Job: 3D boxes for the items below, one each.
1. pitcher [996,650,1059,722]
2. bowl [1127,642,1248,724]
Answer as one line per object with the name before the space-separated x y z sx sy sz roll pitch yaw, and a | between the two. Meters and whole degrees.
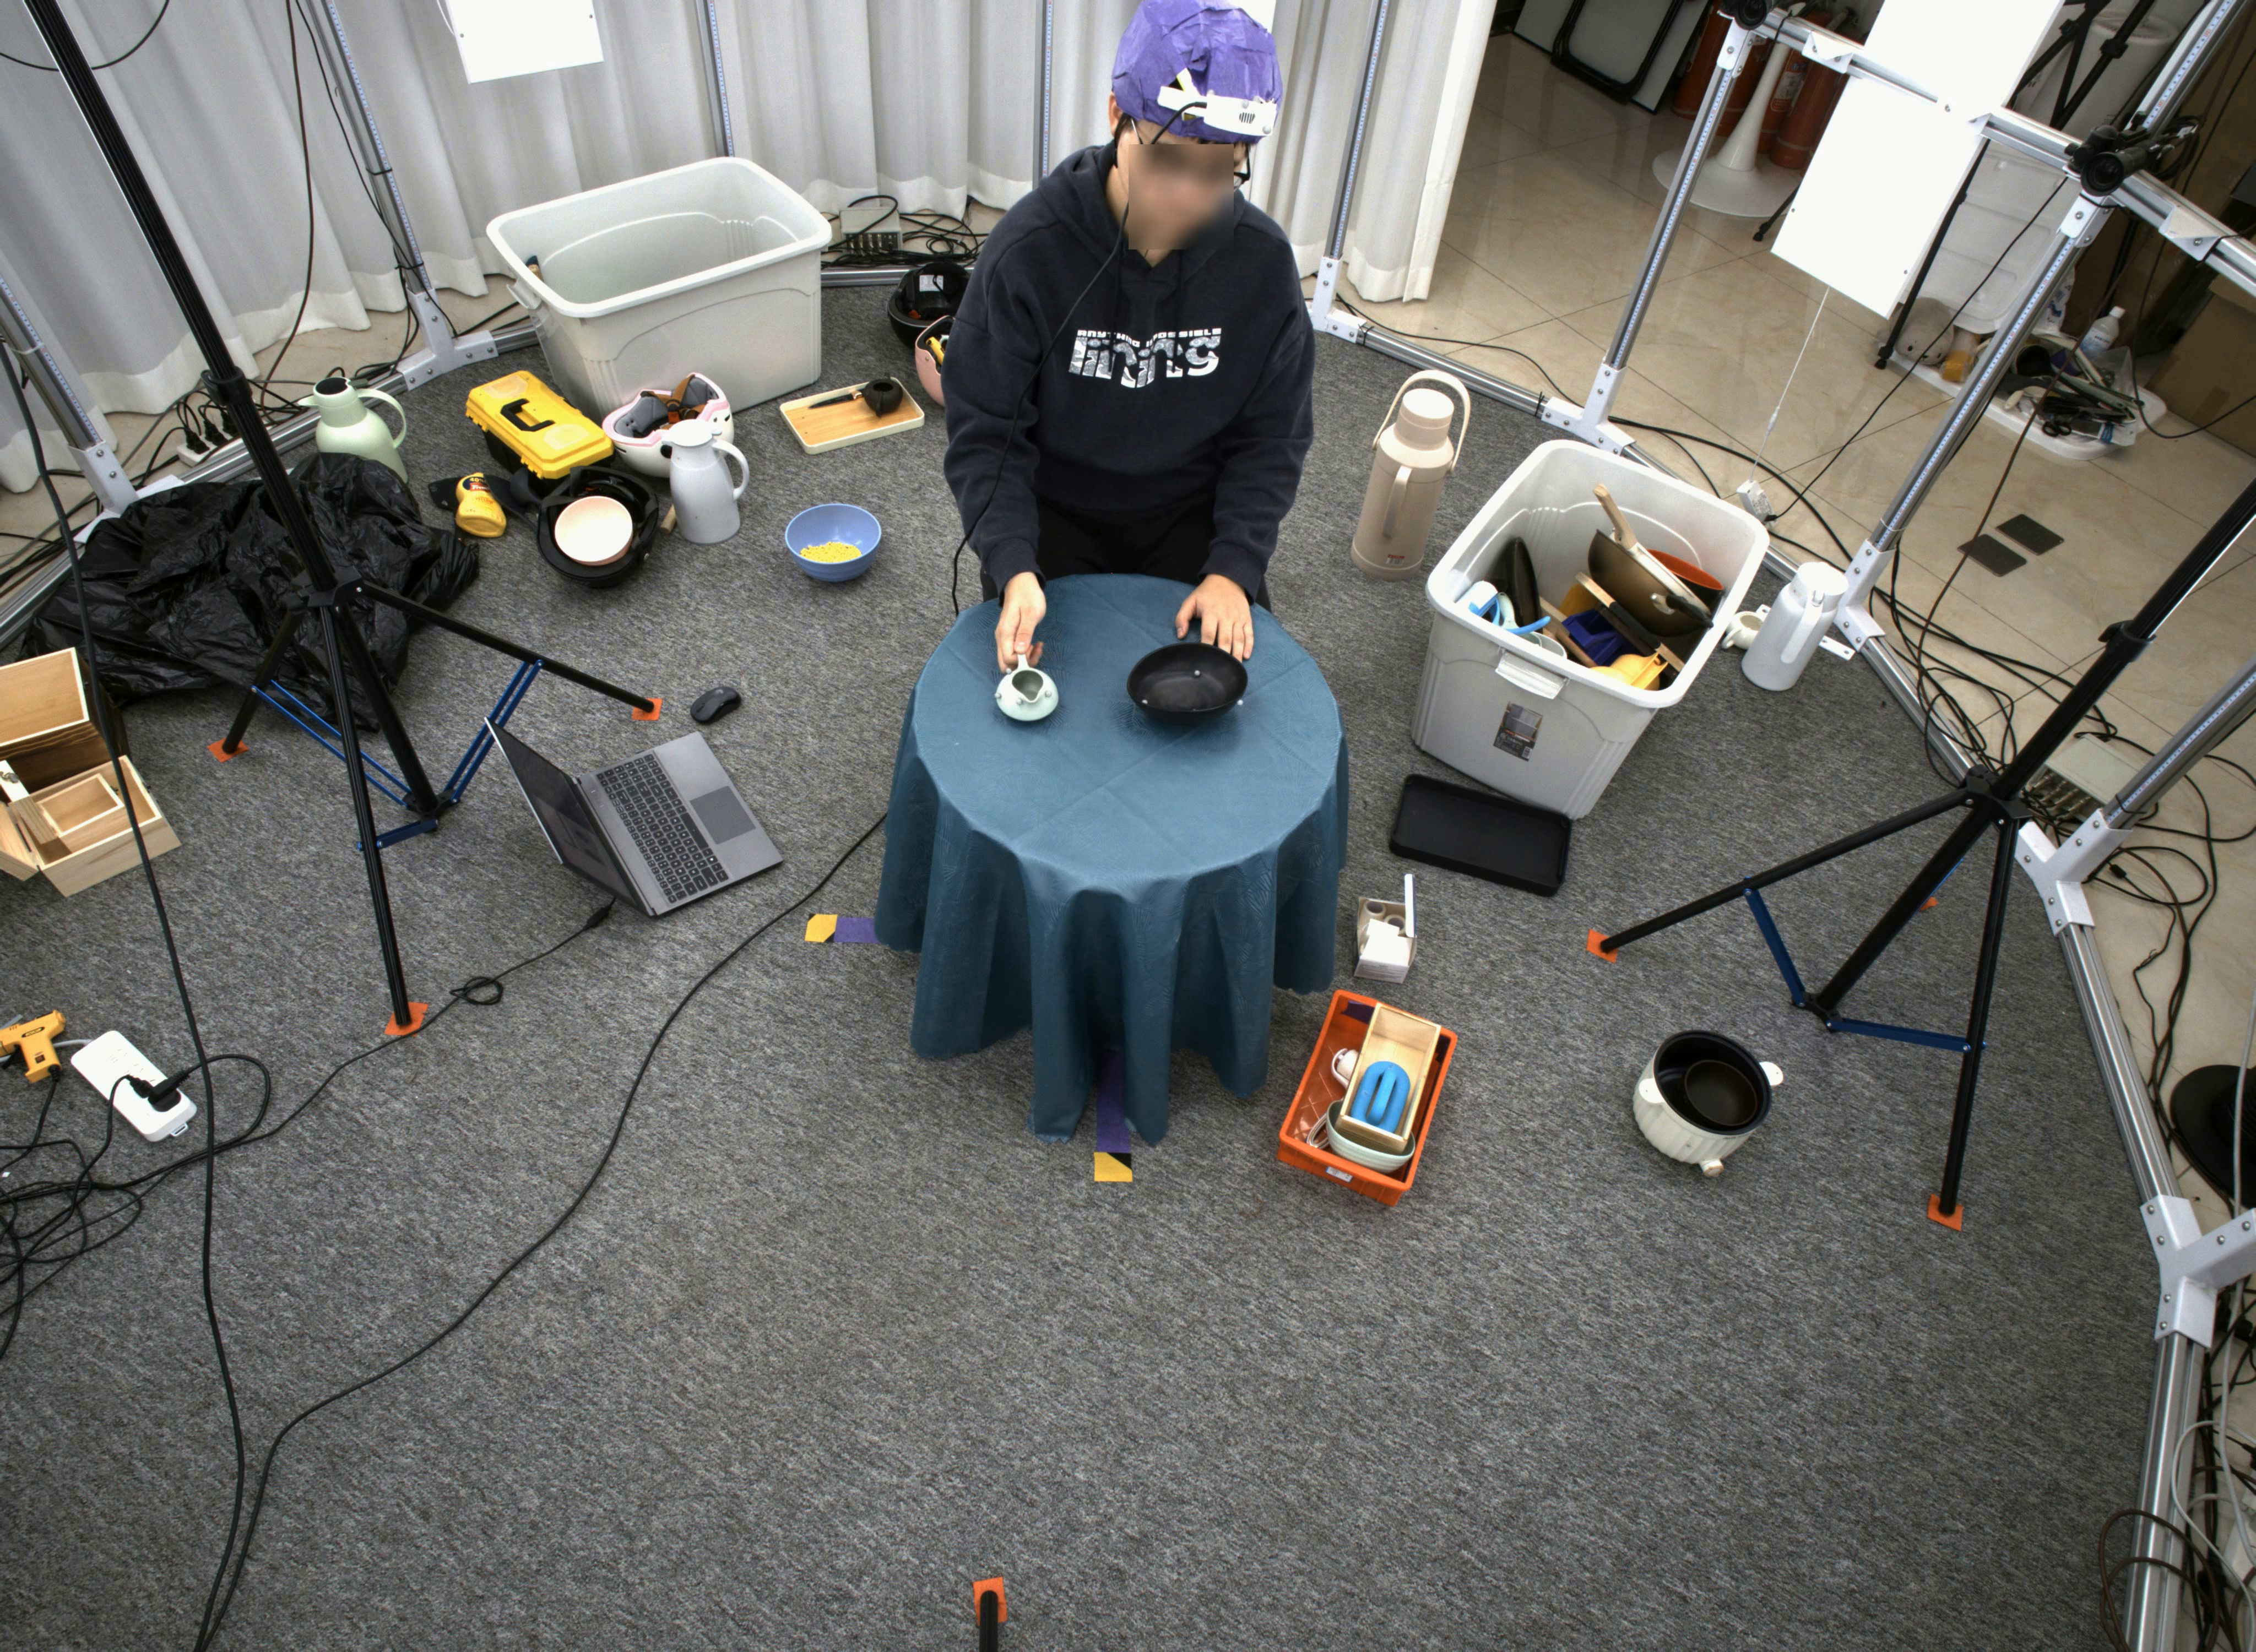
pitcher | -0.141 -0.194 1.783 0.086 0.059 0.110 -7 53 -12
bowl | 0.083 -0.187 1.794 0.170 0.065 0.141 -9 50 -11
